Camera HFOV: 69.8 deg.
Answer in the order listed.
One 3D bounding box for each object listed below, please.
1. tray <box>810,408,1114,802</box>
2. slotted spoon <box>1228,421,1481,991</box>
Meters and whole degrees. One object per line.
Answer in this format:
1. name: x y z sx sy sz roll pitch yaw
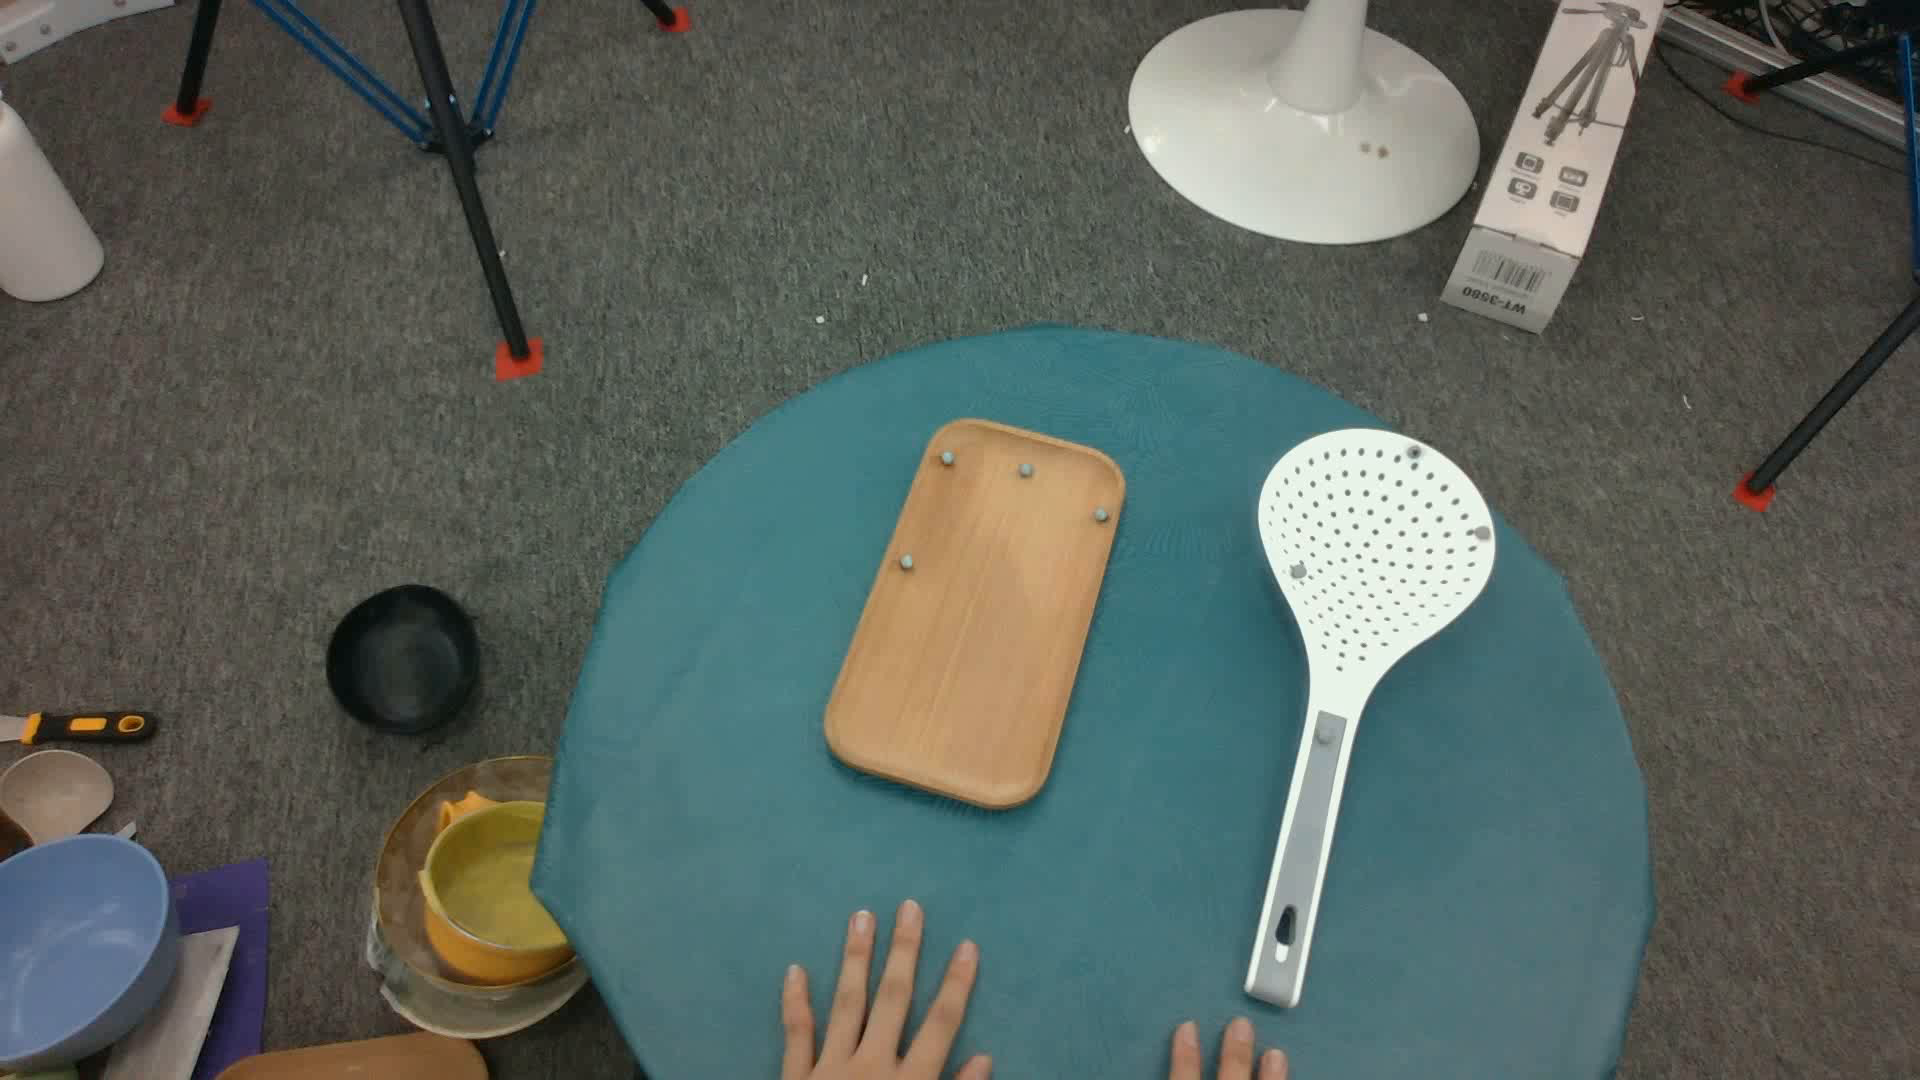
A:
1. tray: 0.007 0.030 0.802 0.130 0.023 0.252 15 57 7
2. slotted spoon: 0.204 0.078 0.769 0.136 0.045 0.351 17 57 9
